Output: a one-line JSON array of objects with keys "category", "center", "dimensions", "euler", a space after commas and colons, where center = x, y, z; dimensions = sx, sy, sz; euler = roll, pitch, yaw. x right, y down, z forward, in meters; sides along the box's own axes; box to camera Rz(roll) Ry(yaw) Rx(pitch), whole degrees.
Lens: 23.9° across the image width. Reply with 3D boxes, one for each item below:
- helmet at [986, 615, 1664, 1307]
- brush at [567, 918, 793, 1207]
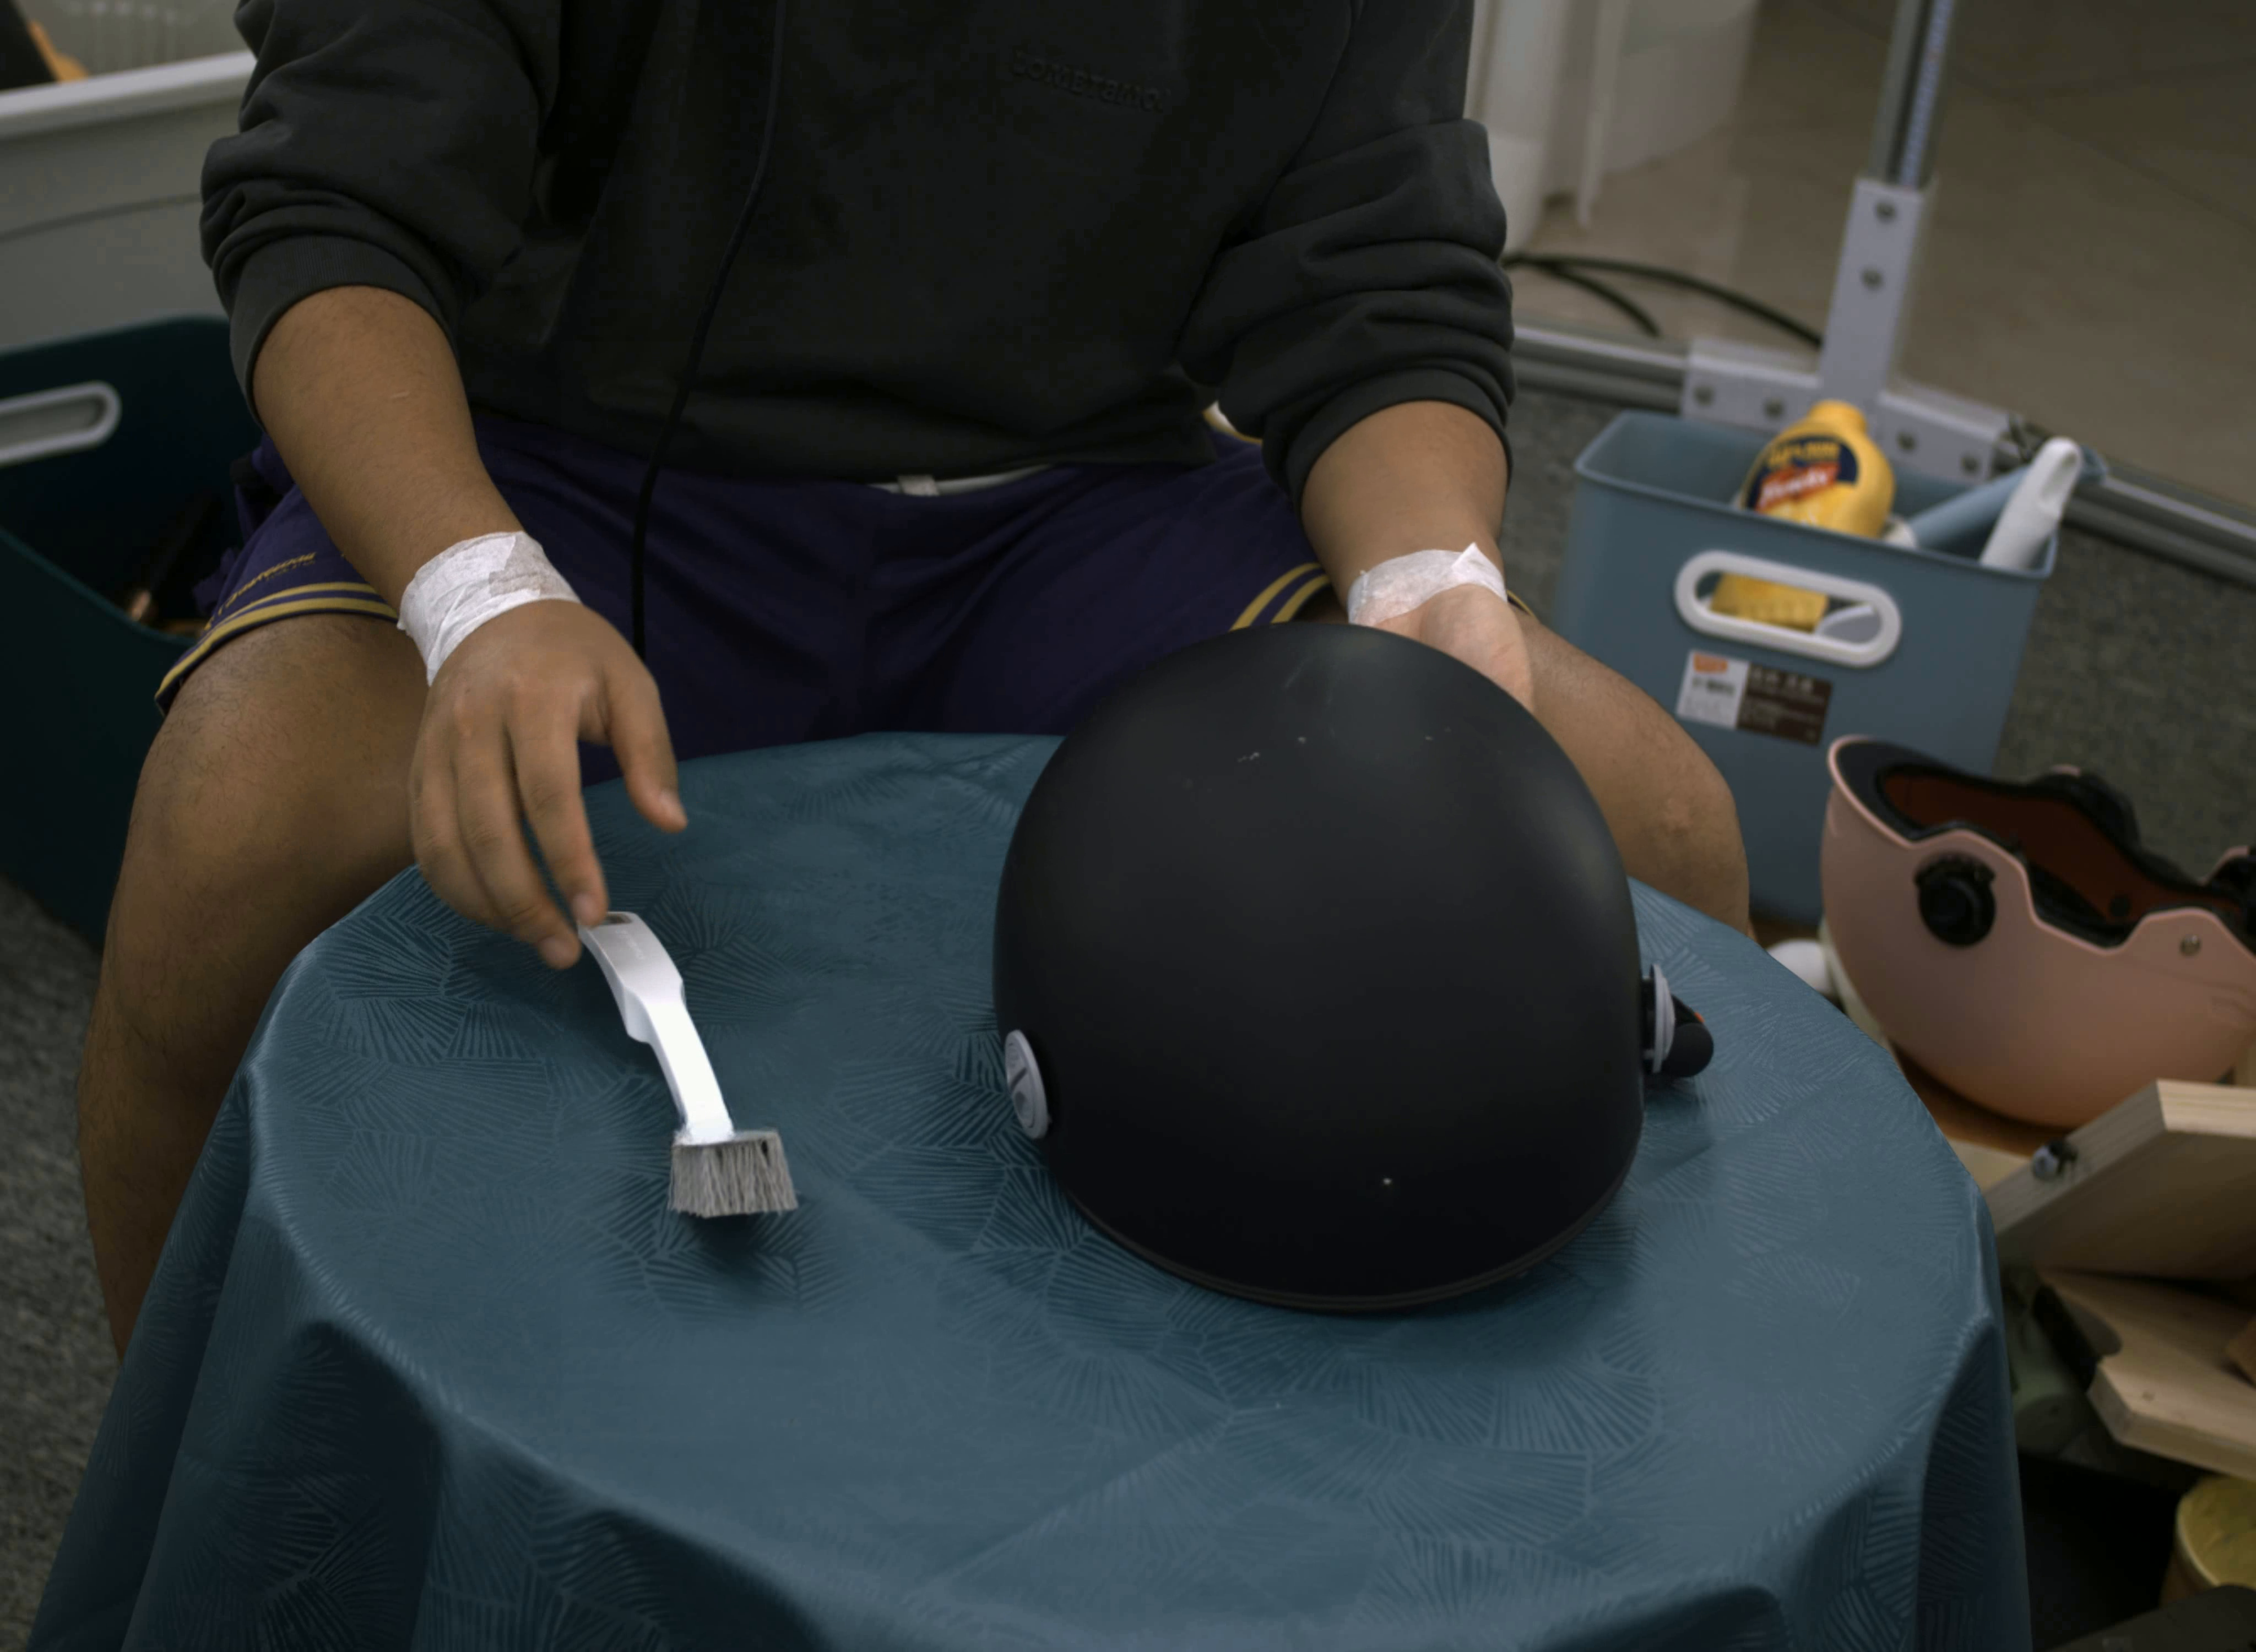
[{"category": "helmet", "center": [0.064, 0.026, 1.817], "dimensions": [0.229, 0.166, 0.275], "euler": [-5, 32, -4]}, {"category": "brush", "center": [-0.157, 0.084, 1.819], "dimensions": [0.034, 0.050, 0.245], "euler": [-6, 16, -17]}]
